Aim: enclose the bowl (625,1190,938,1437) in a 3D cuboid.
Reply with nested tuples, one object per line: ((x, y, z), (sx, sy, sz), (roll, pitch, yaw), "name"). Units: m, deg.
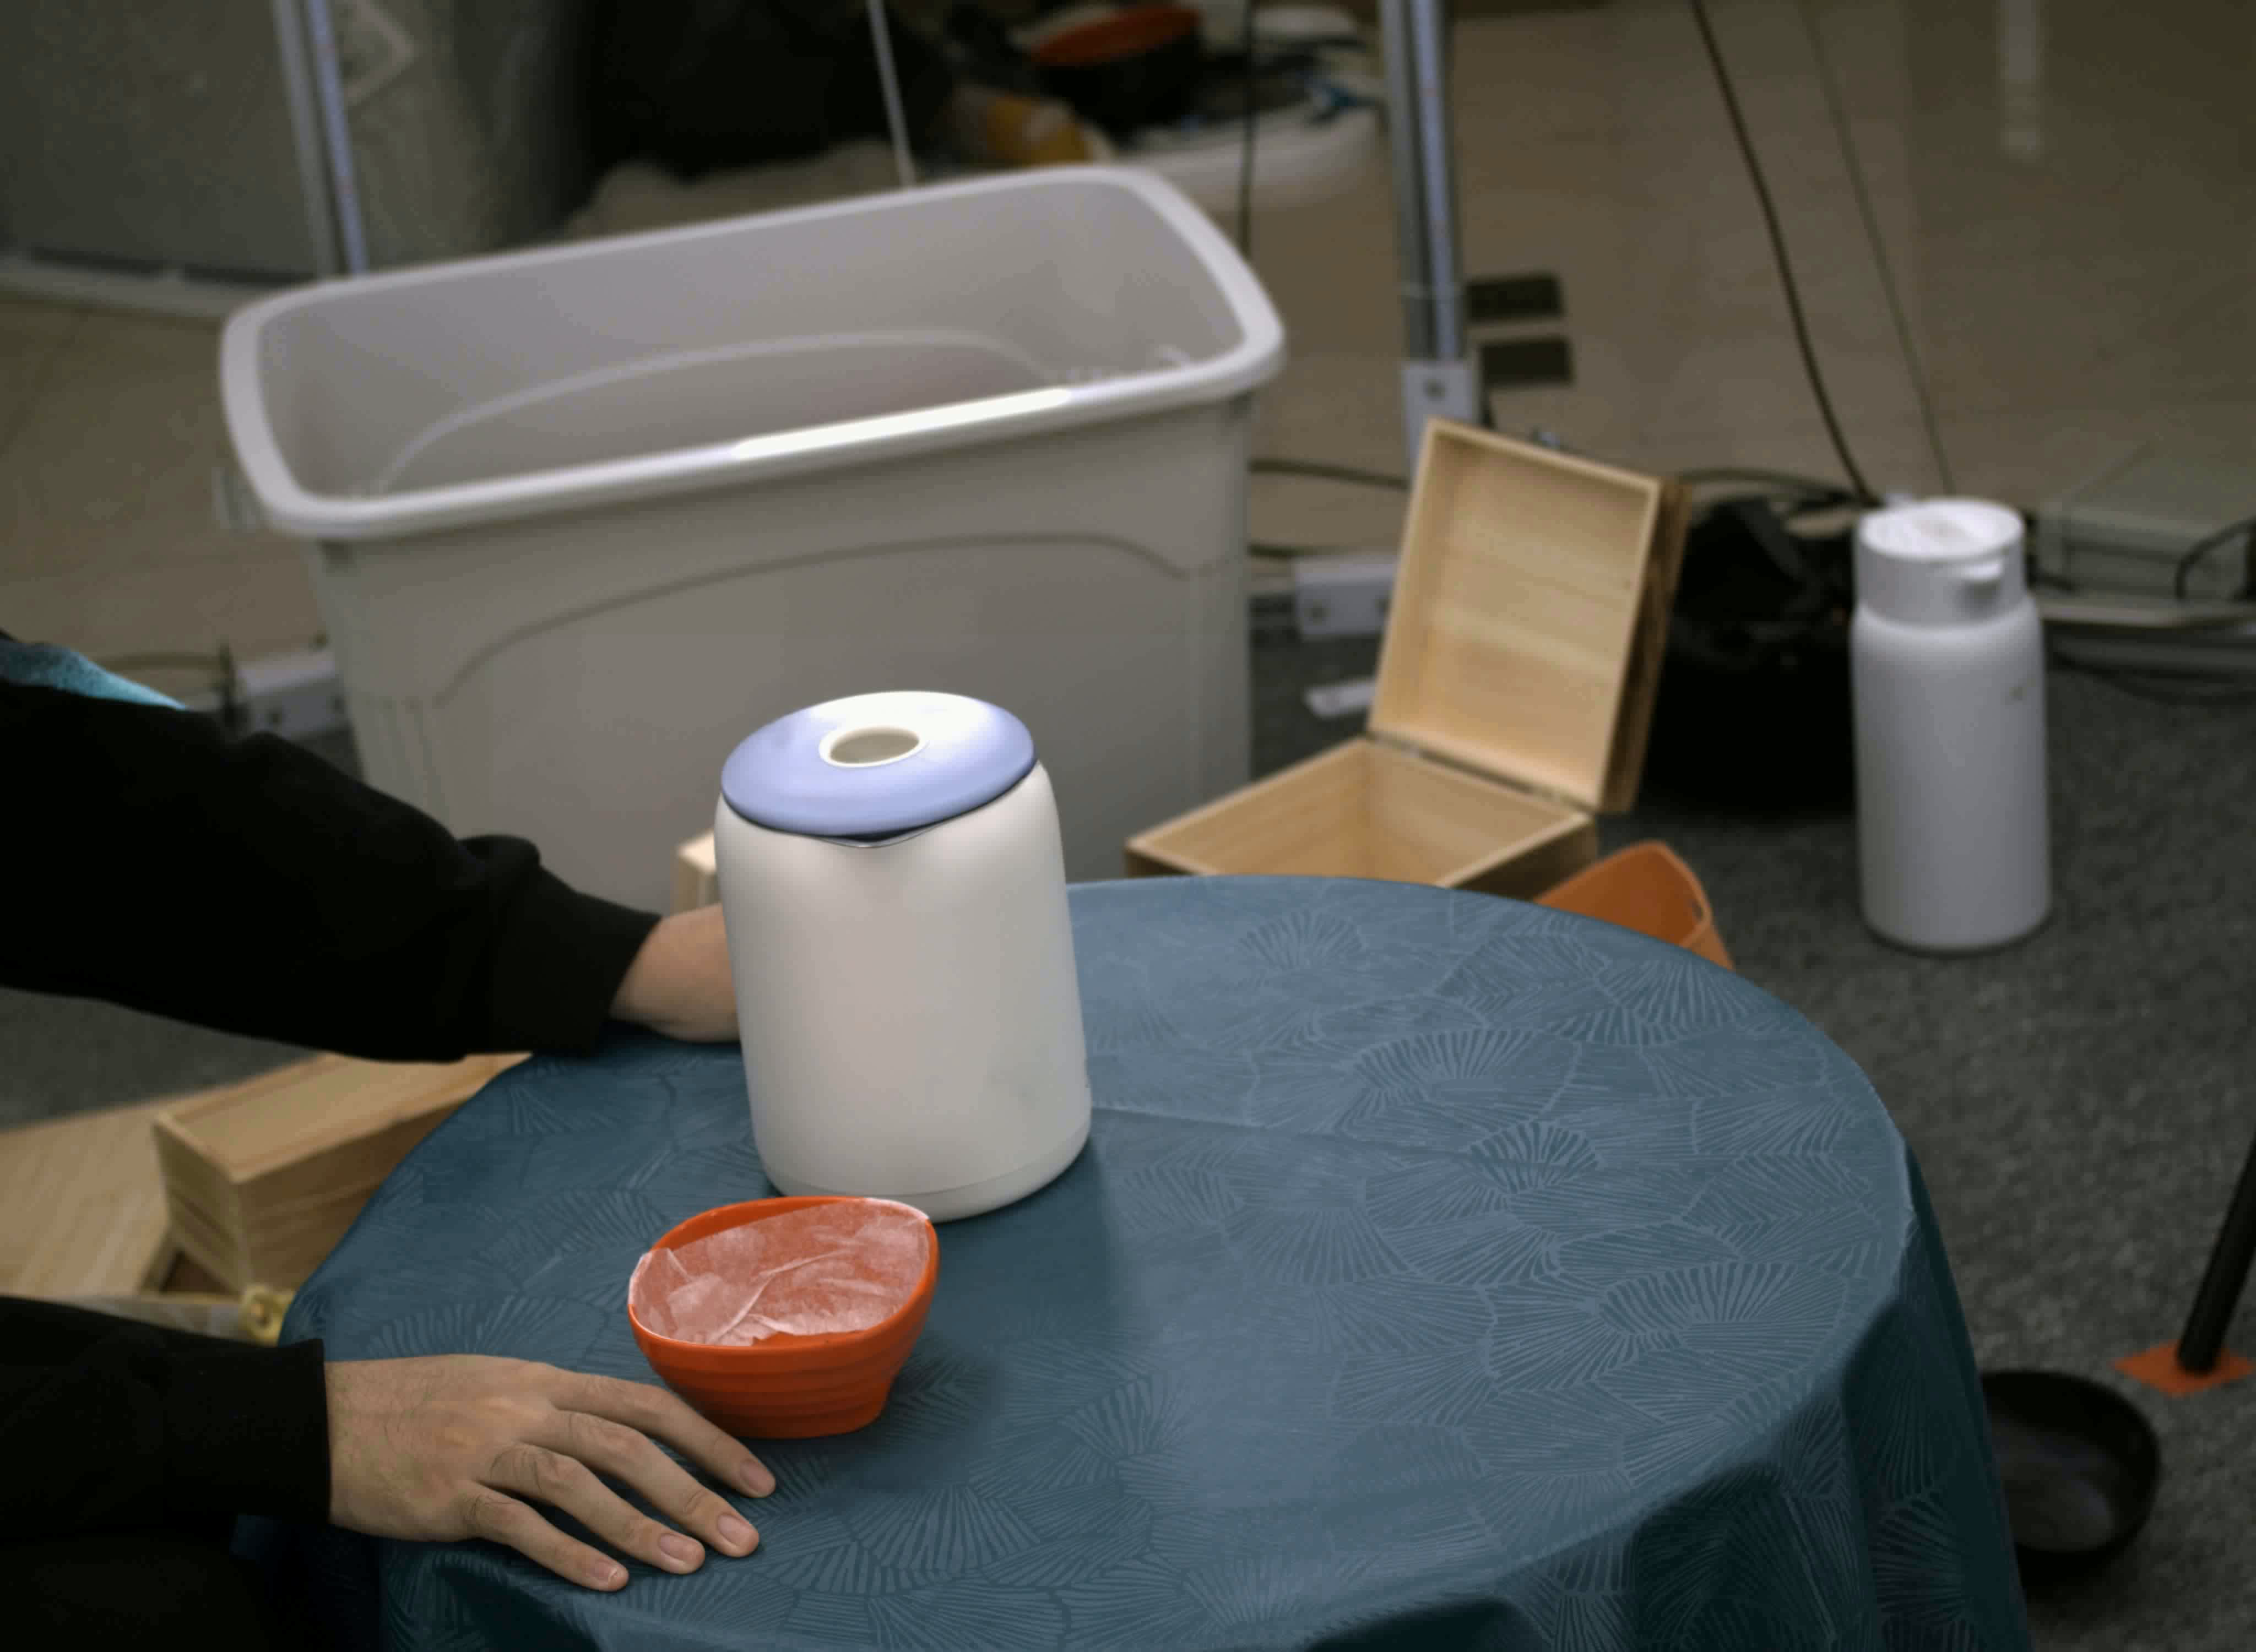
((-0.121, 0.178, 2.025), (0.119, 0.052, 0.117), (-4, 27, 2), "bowl")

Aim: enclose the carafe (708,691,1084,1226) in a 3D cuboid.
((-0.090, 0.040, 2.173), (0.132, 0.185, 0.188), (-6, 23, -2), "carafe")
